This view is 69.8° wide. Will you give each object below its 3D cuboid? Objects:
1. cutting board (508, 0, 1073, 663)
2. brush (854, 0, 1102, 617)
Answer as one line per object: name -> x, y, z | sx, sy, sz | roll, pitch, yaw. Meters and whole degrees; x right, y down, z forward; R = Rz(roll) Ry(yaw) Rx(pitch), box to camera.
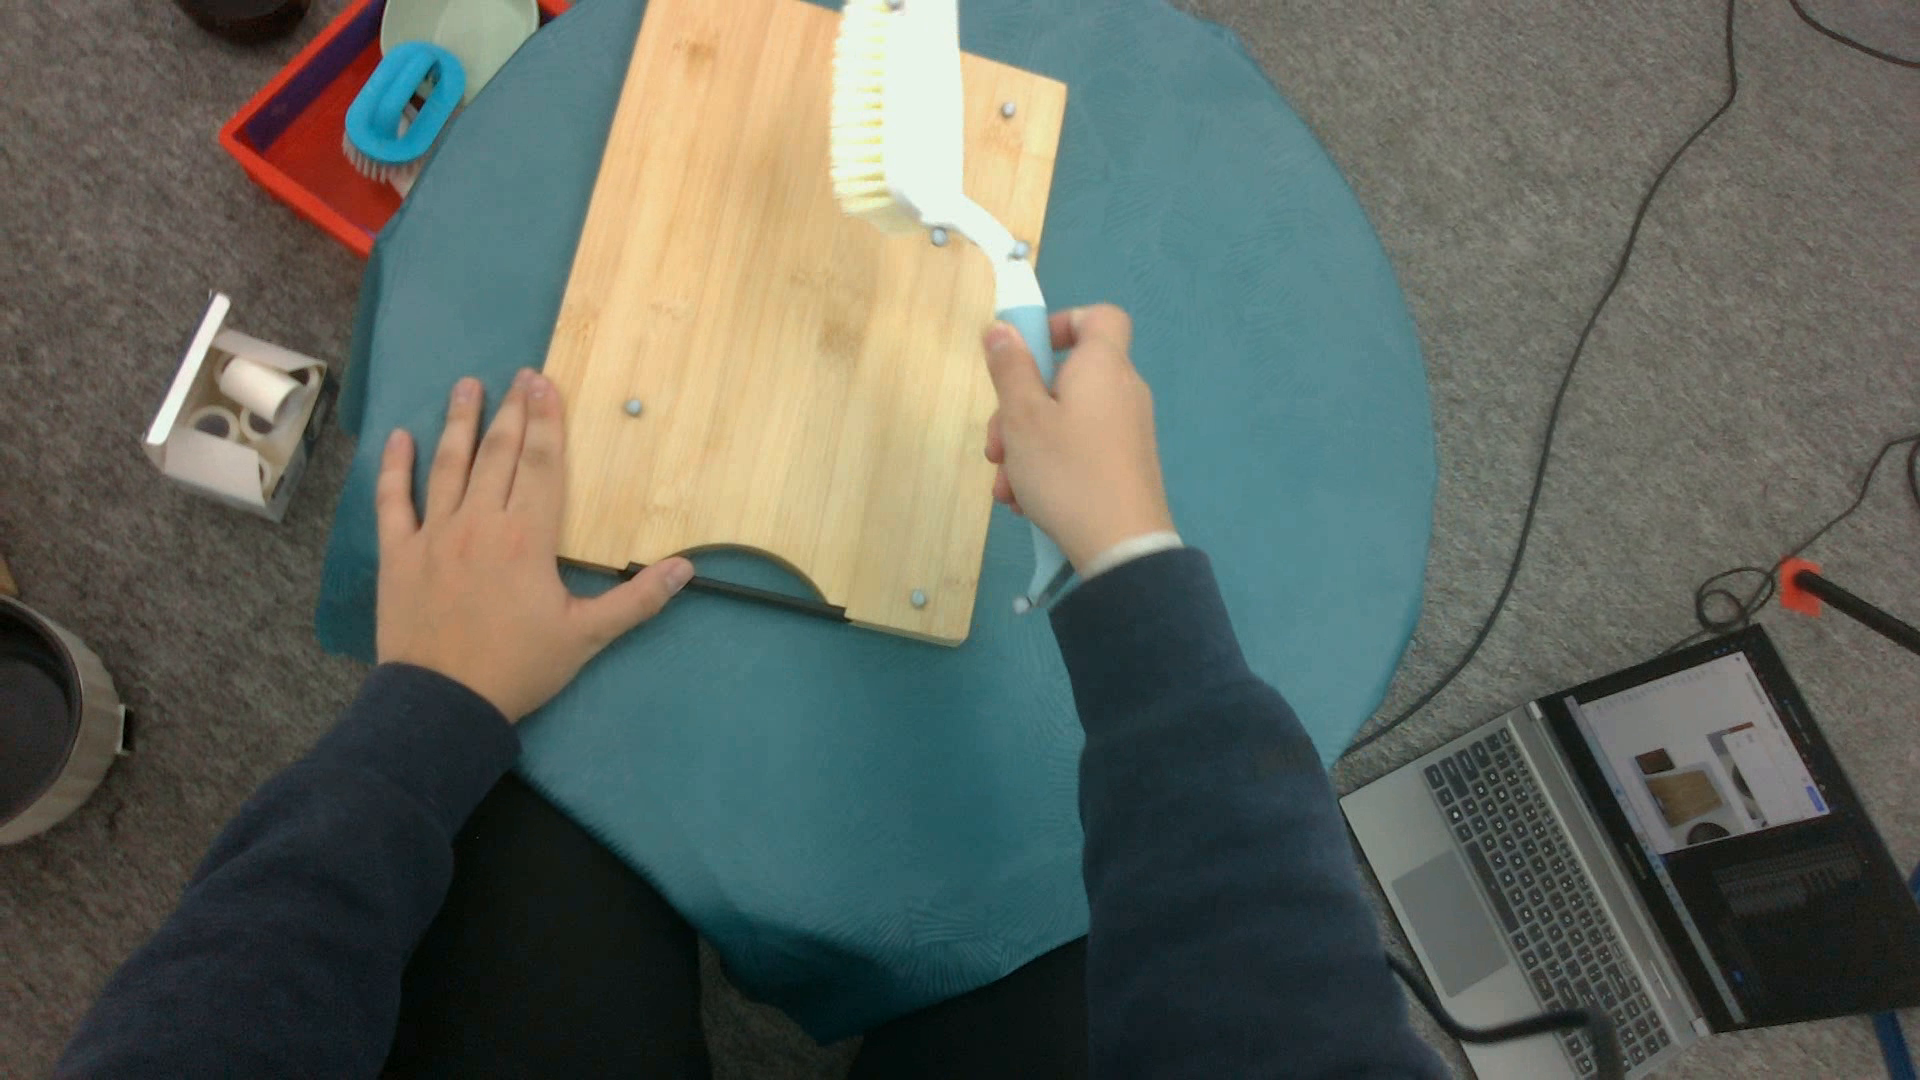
cutting board -> -0.080, -0.124, 0.762 | 0.251, 0.023, 0.349 | 12, 73, -9
brush -> -0.006, -0.117, 0.673 | 0.083, 0.084, 0.326 | -2, 77, -32
